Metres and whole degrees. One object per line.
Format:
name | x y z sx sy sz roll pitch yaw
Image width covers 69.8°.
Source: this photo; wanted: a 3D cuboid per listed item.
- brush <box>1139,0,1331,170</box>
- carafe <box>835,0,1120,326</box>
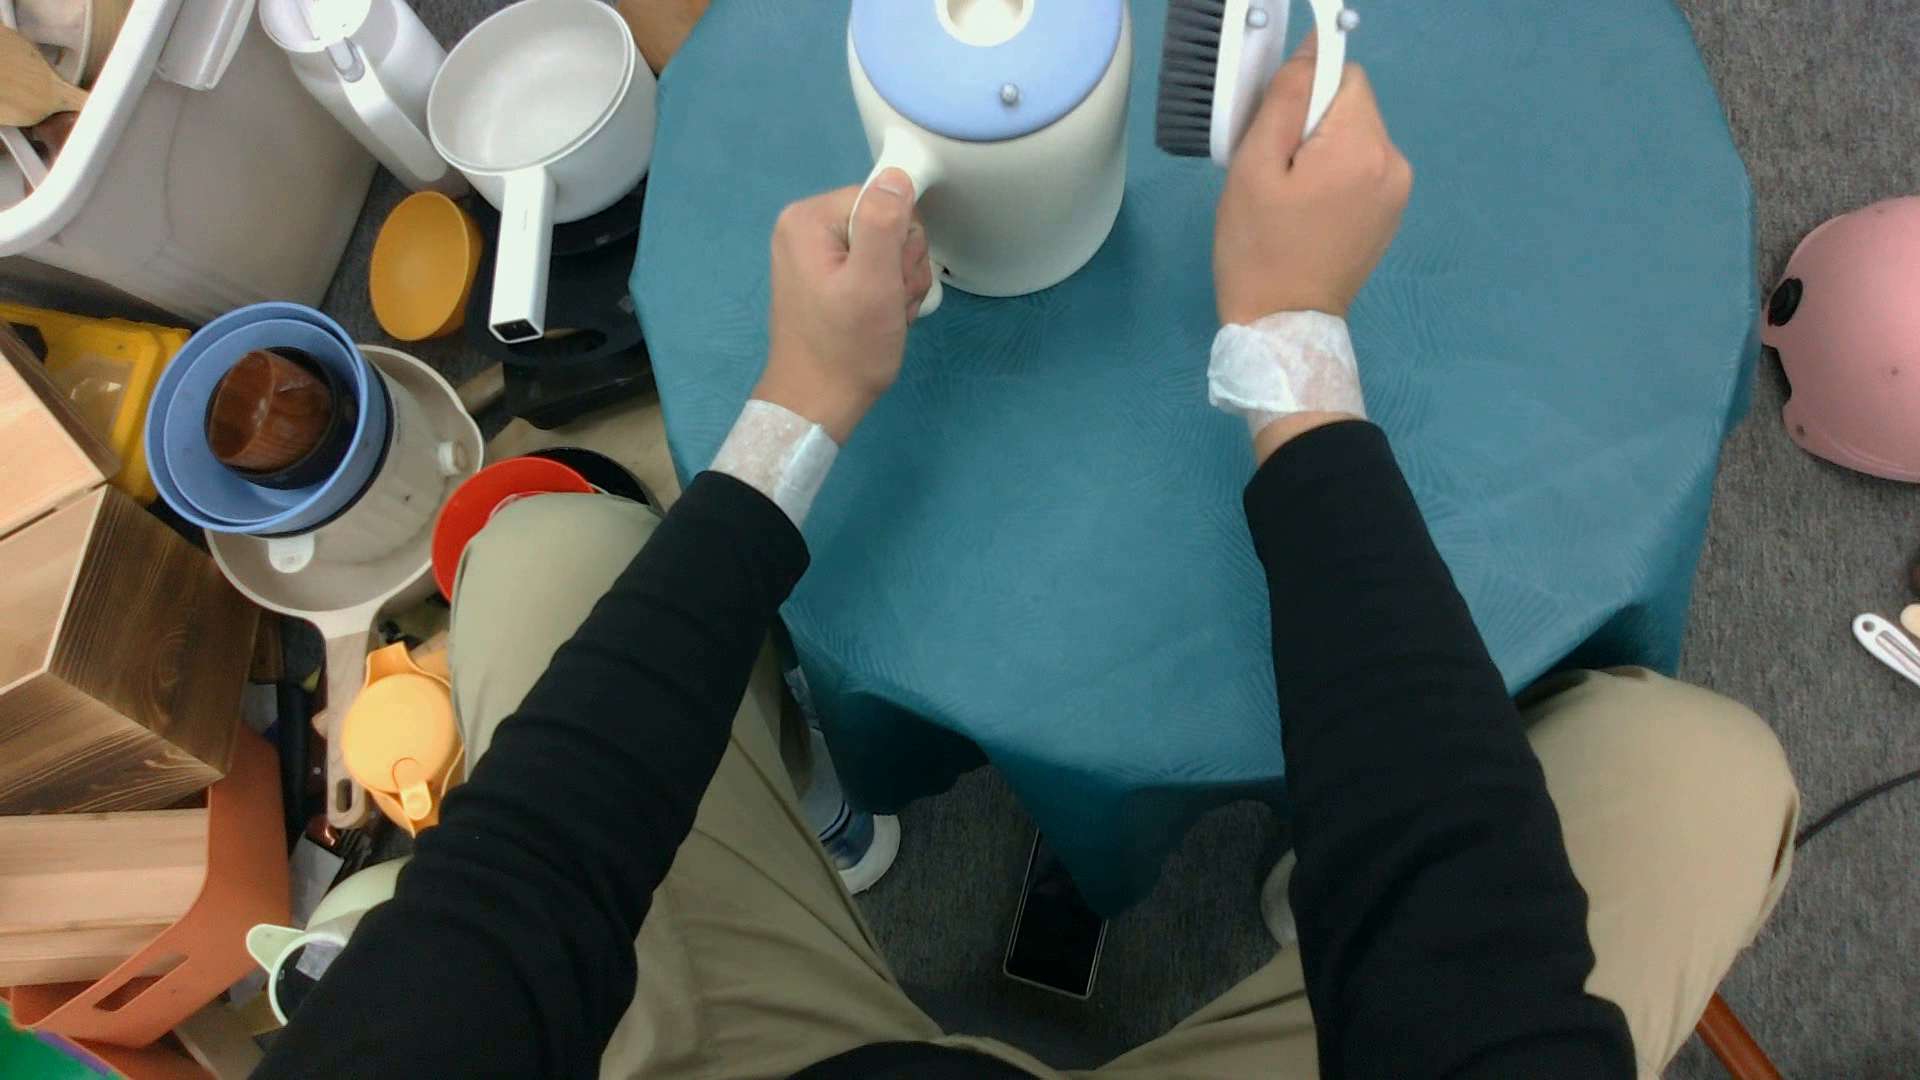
brush | 0.124 -0.211 0.604 0.072 0.099 0.050 23 39 24
carafe | -0.002 -0.195 0.678 0.132 0.182 0.191 30 83 10
